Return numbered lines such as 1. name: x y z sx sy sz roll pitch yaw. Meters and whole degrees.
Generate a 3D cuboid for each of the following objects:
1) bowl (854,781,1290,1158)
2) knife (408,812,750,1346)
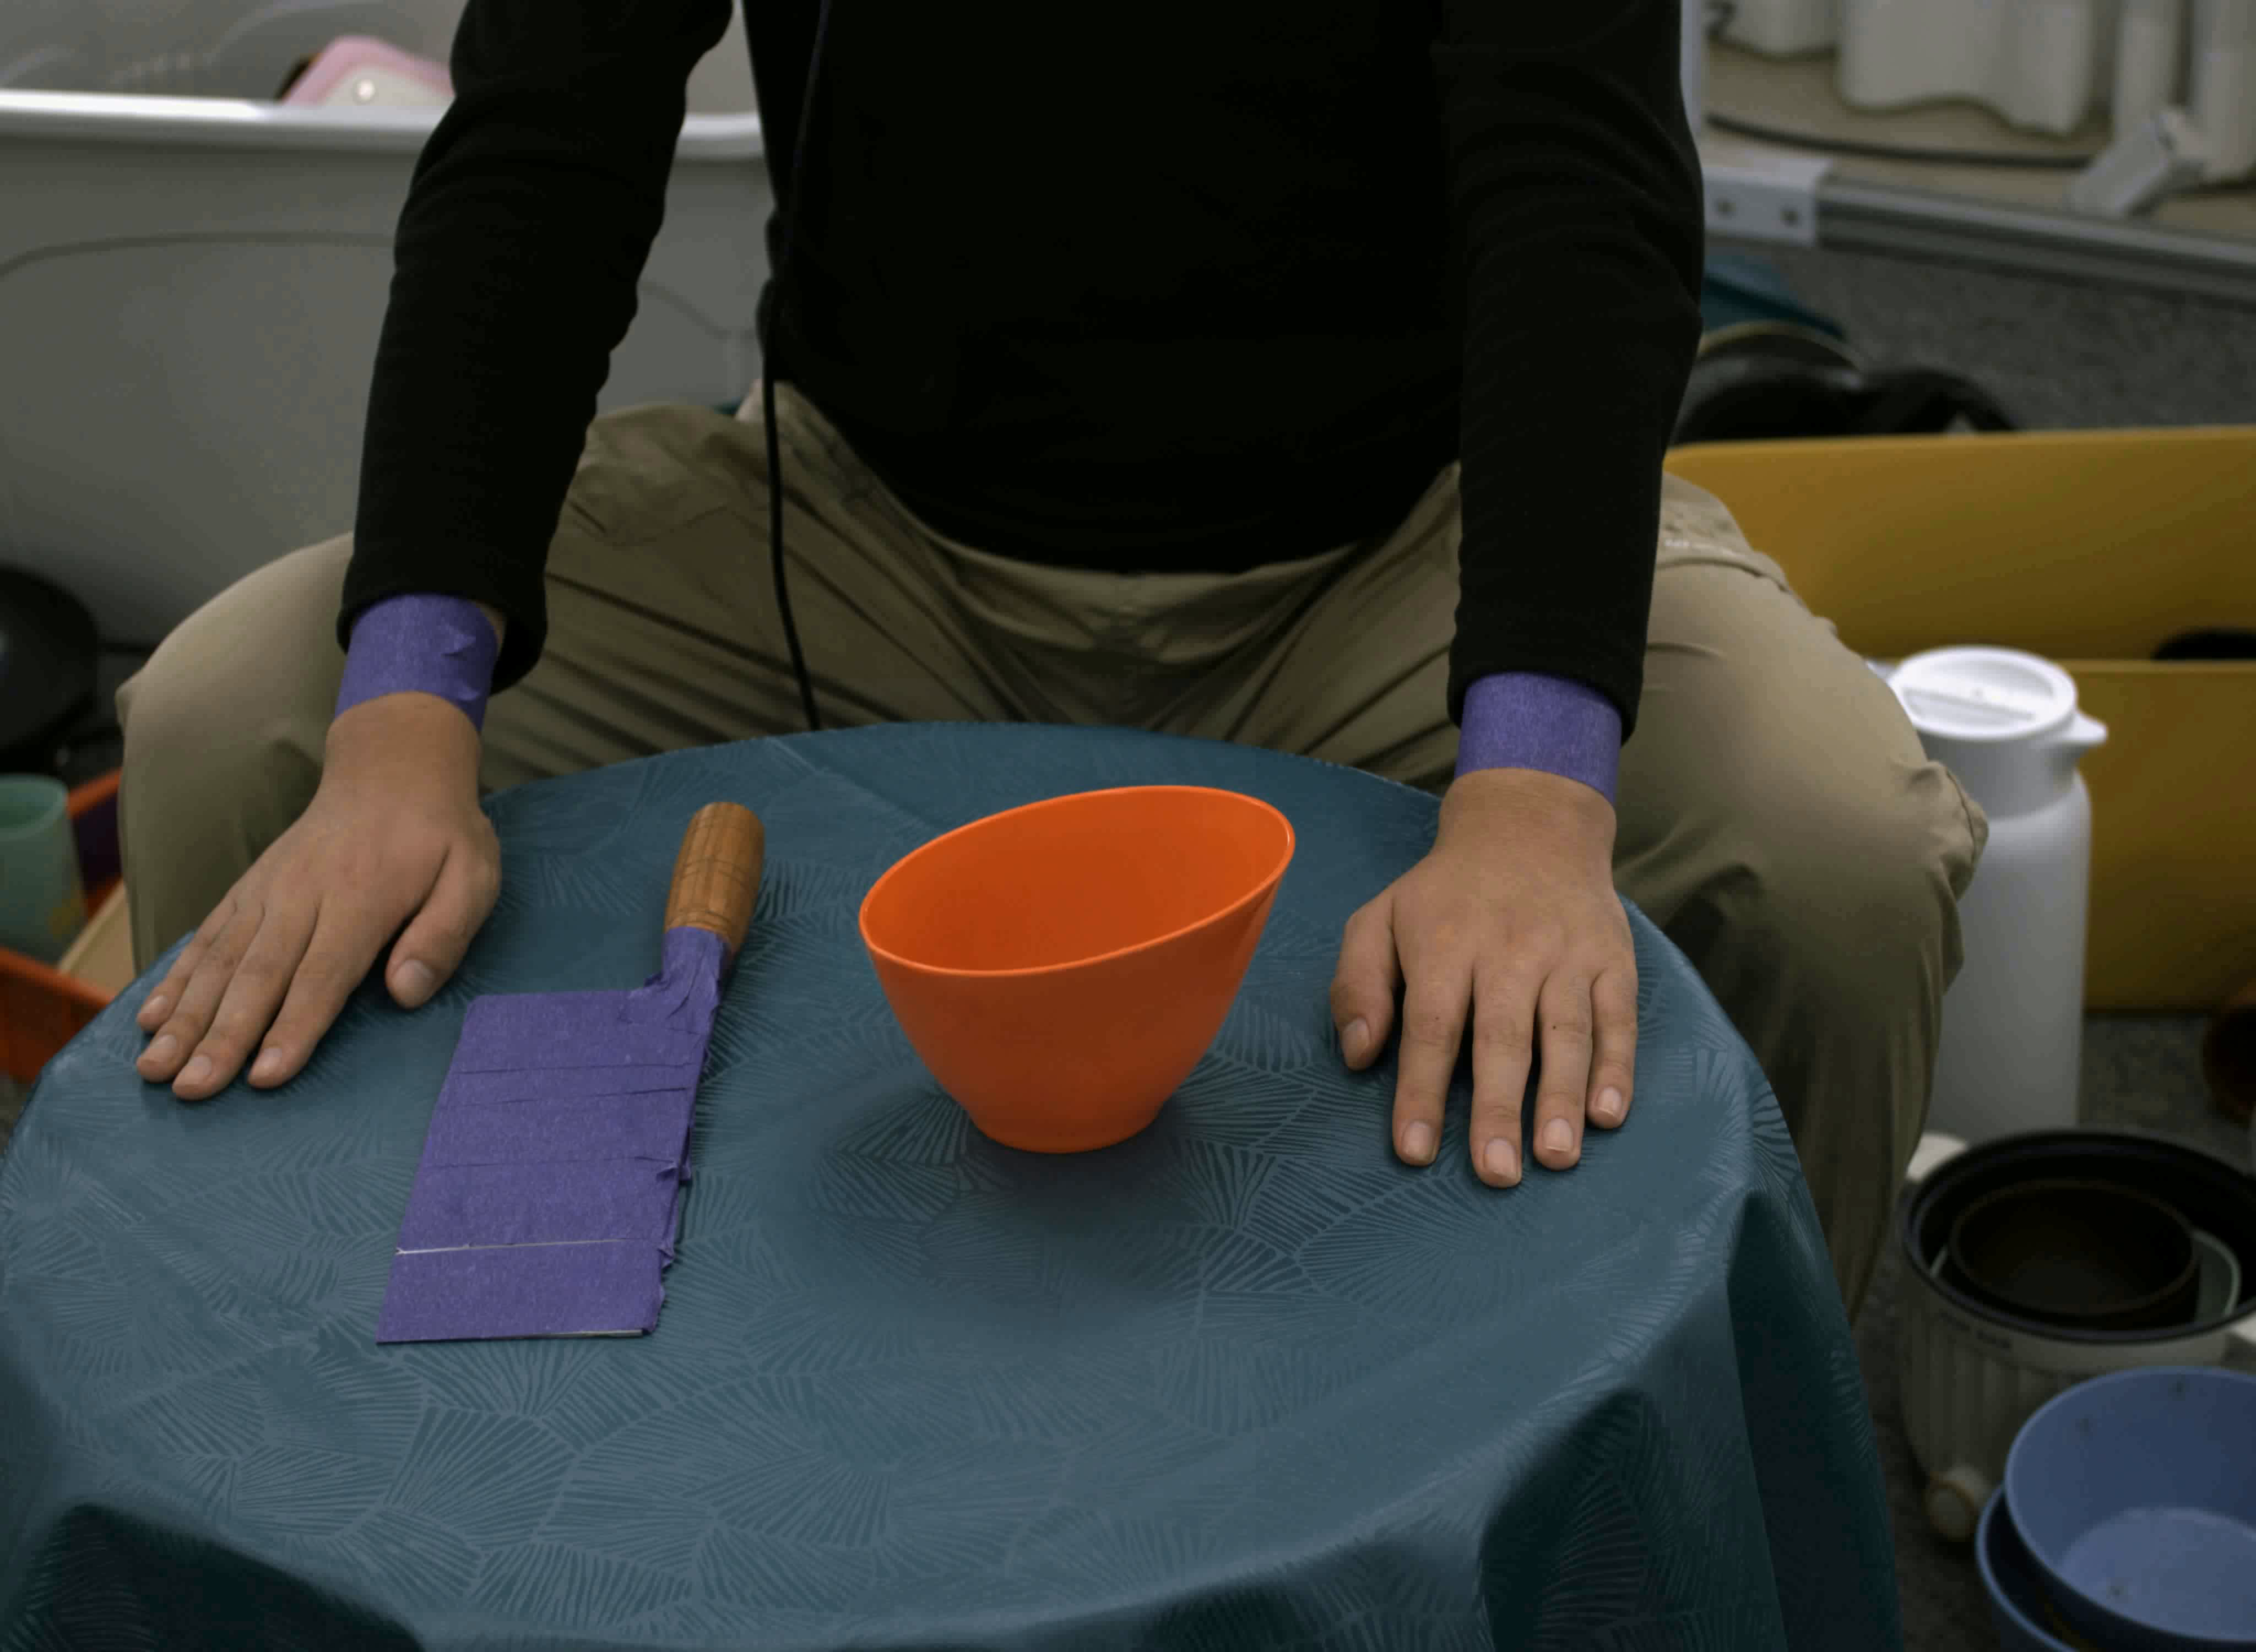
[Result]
1. bowl: -0.016 0.053 1.883 0.147 0.103 0.150 -4 28 2
2. knife: -0.188 0.083 1.924 0.103 0.032 0.320 -1 28 3
